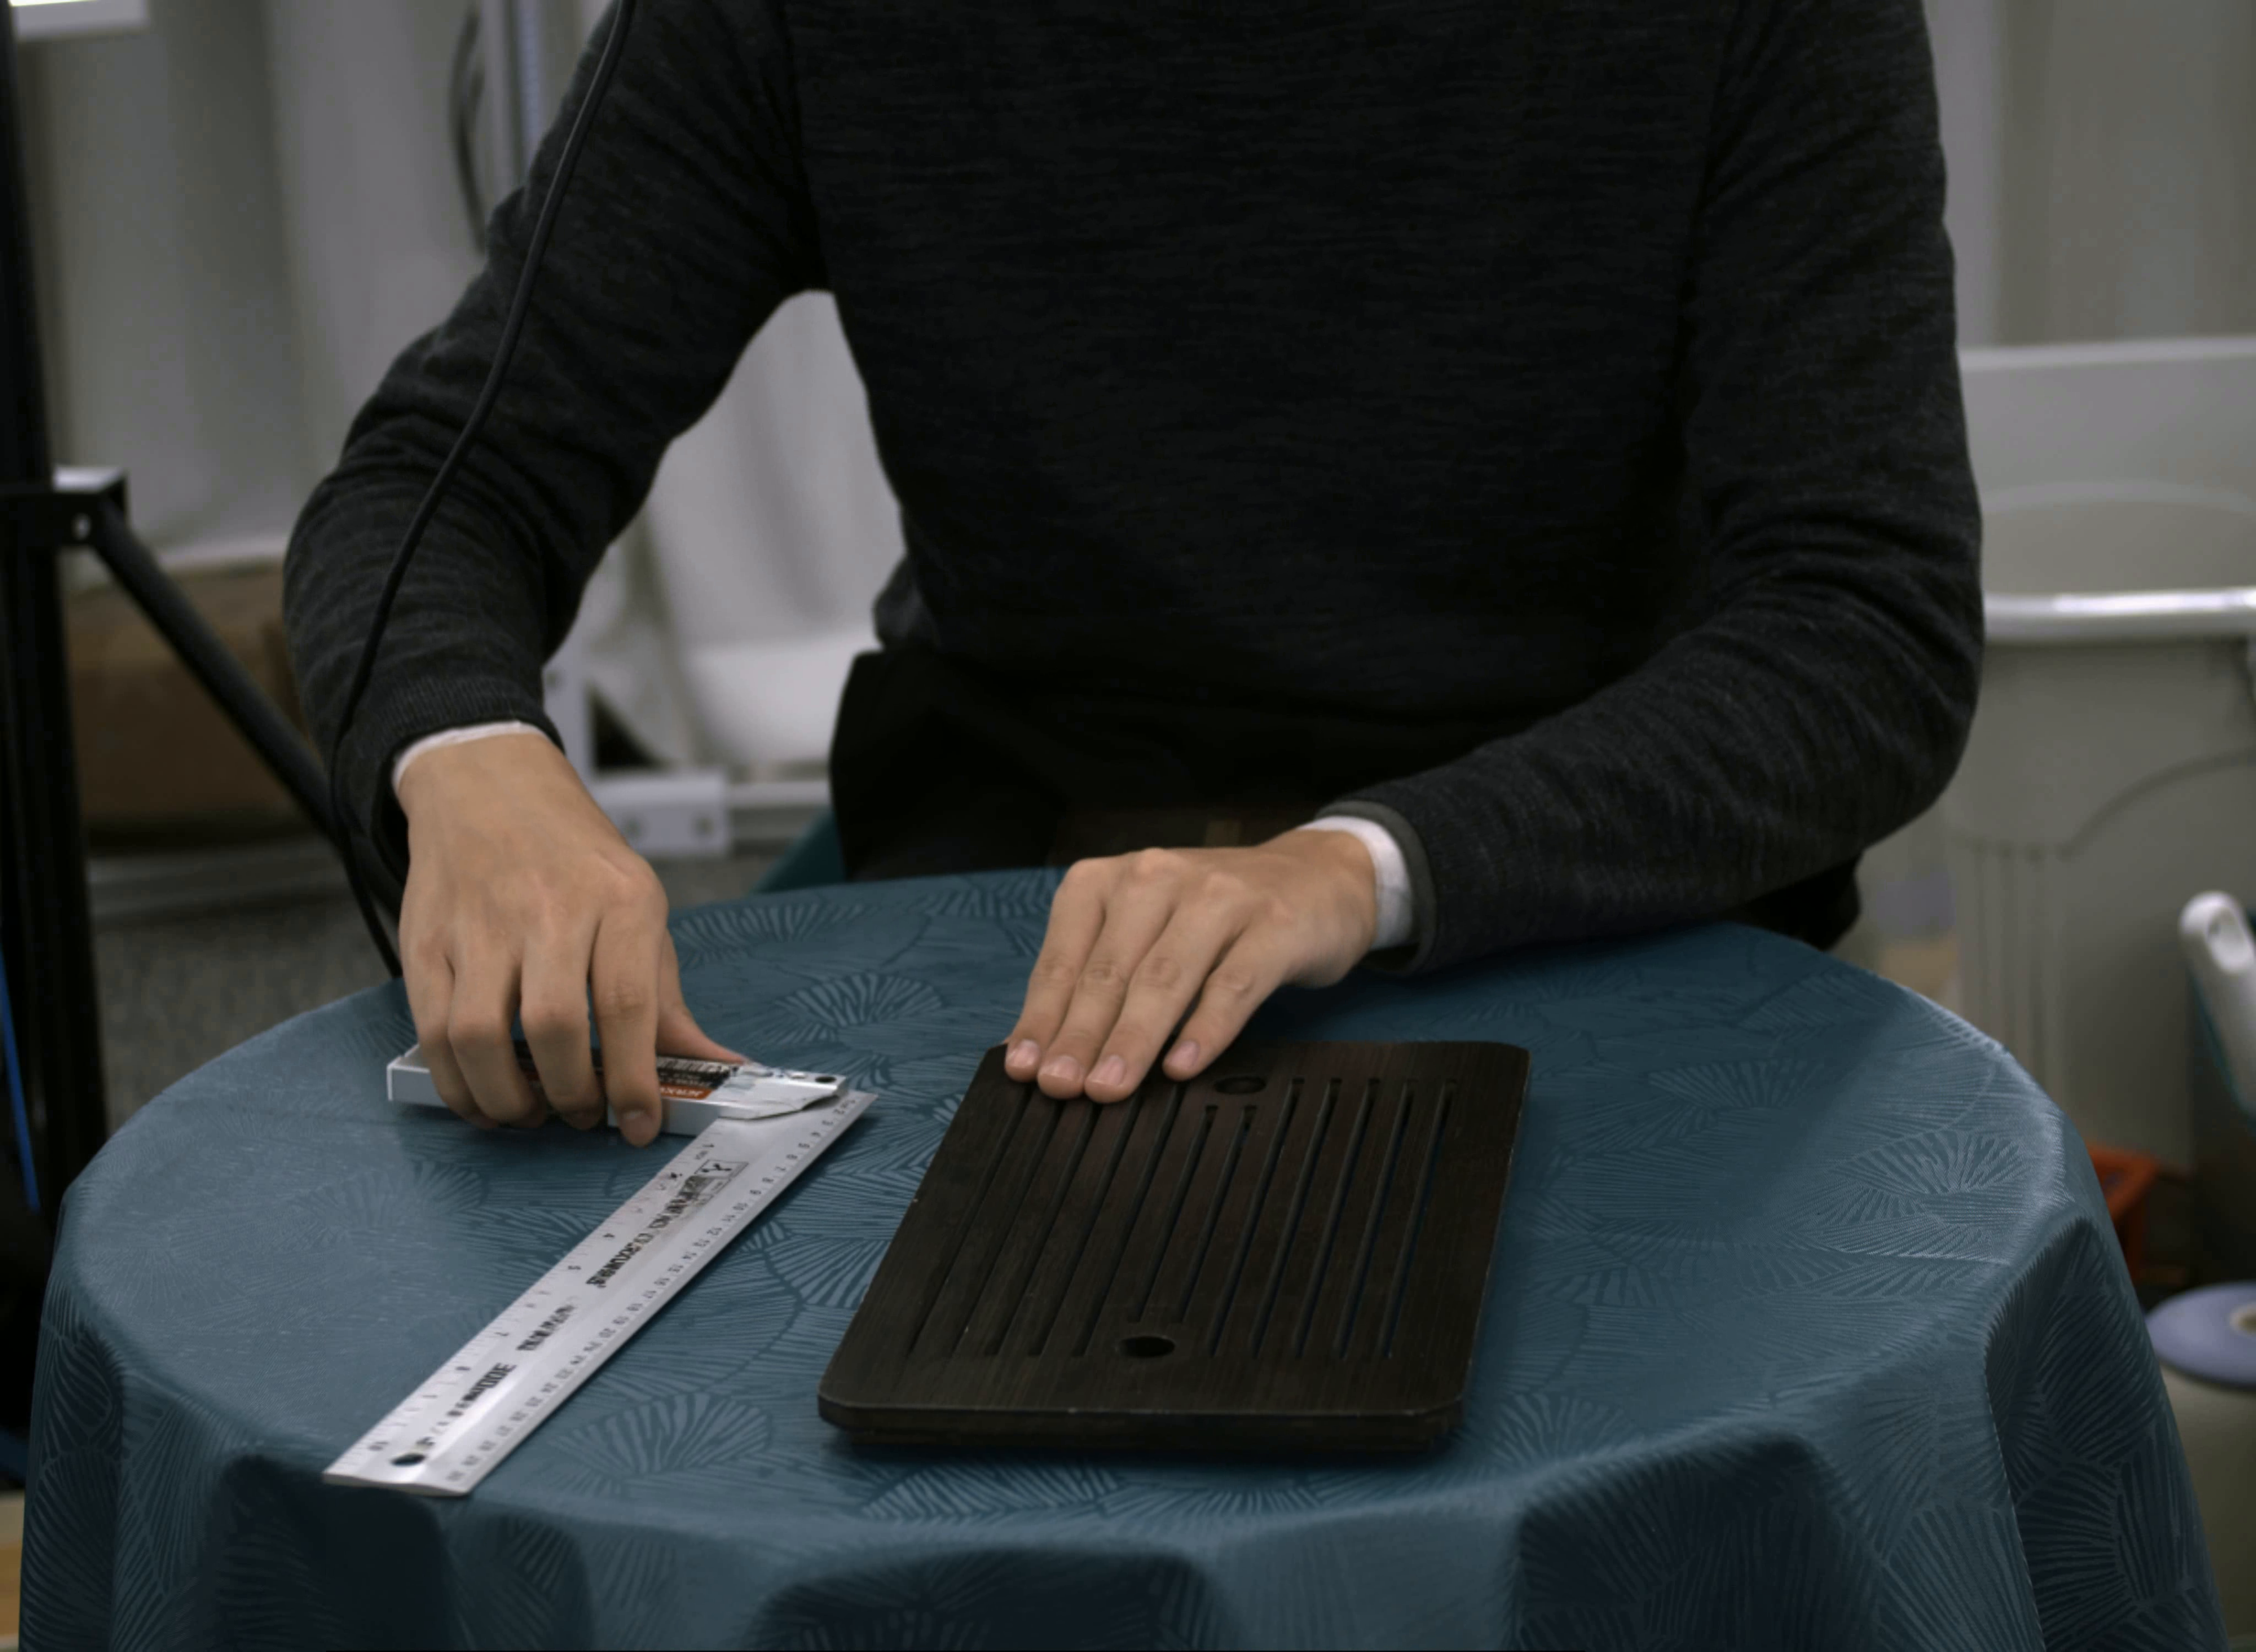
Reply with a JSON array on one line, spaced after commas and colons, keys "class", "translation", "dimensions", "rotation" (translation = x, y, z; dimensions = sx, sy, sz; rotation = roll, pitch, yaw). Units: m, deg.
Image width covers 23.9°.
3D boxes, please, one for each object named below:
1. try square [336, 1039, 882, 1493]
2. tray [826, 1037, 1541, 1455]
[{"class": "try square", "translation": [-0.191, 0.121, 1.524], "dimensions": [0.154, 0.016, 0.310], "rotation": [4, 18, 18]}, {"class": "tray", "translation": [0.024, 0.115, 1.494], "dimensions": [0.170, 0.018, 0.305], "rotation": [-1, 16, 9]}]
